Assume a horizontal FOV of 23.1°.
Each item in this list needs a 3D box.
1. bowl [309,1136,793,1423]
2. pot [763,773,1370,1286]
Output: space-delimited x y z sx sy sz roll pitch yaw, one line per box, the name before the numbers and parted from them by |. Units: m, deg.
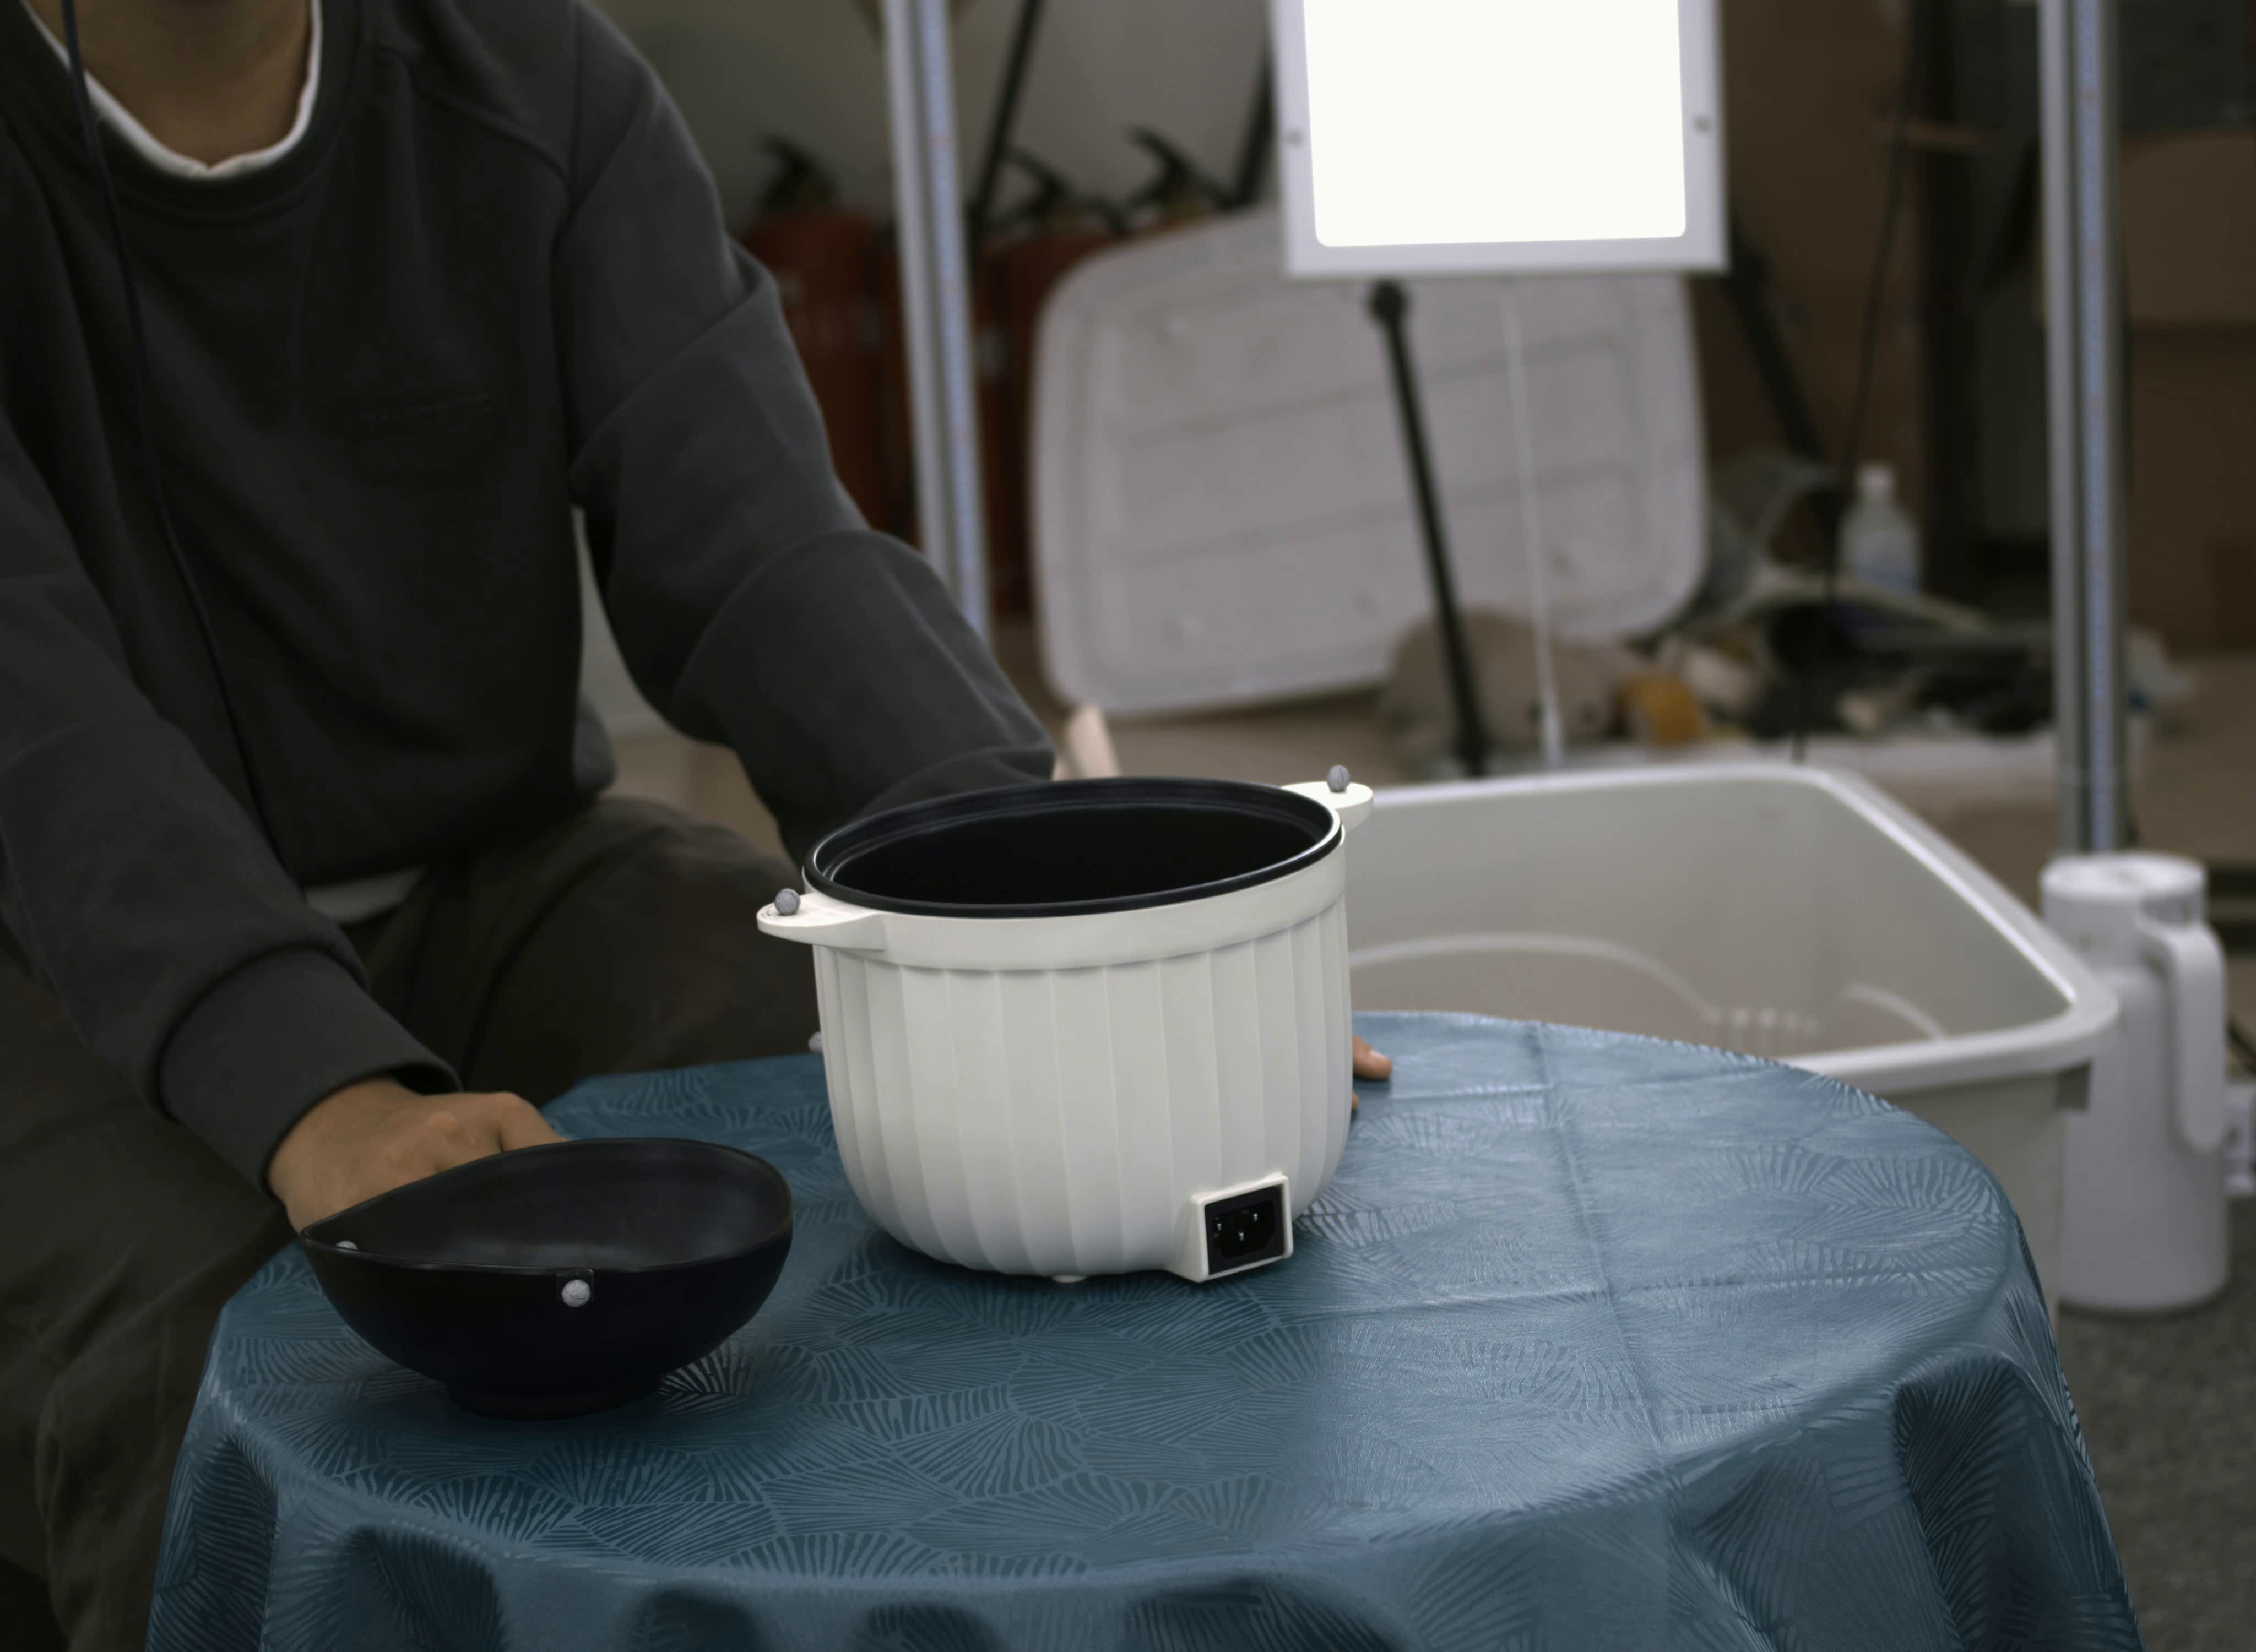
bowl | -0.181 0.147 1.742 0.174 0.067 0.134 3 15 35
pot | -0.018 0.068 1.853 0.234 0.143 0.194 -12 18 -32
